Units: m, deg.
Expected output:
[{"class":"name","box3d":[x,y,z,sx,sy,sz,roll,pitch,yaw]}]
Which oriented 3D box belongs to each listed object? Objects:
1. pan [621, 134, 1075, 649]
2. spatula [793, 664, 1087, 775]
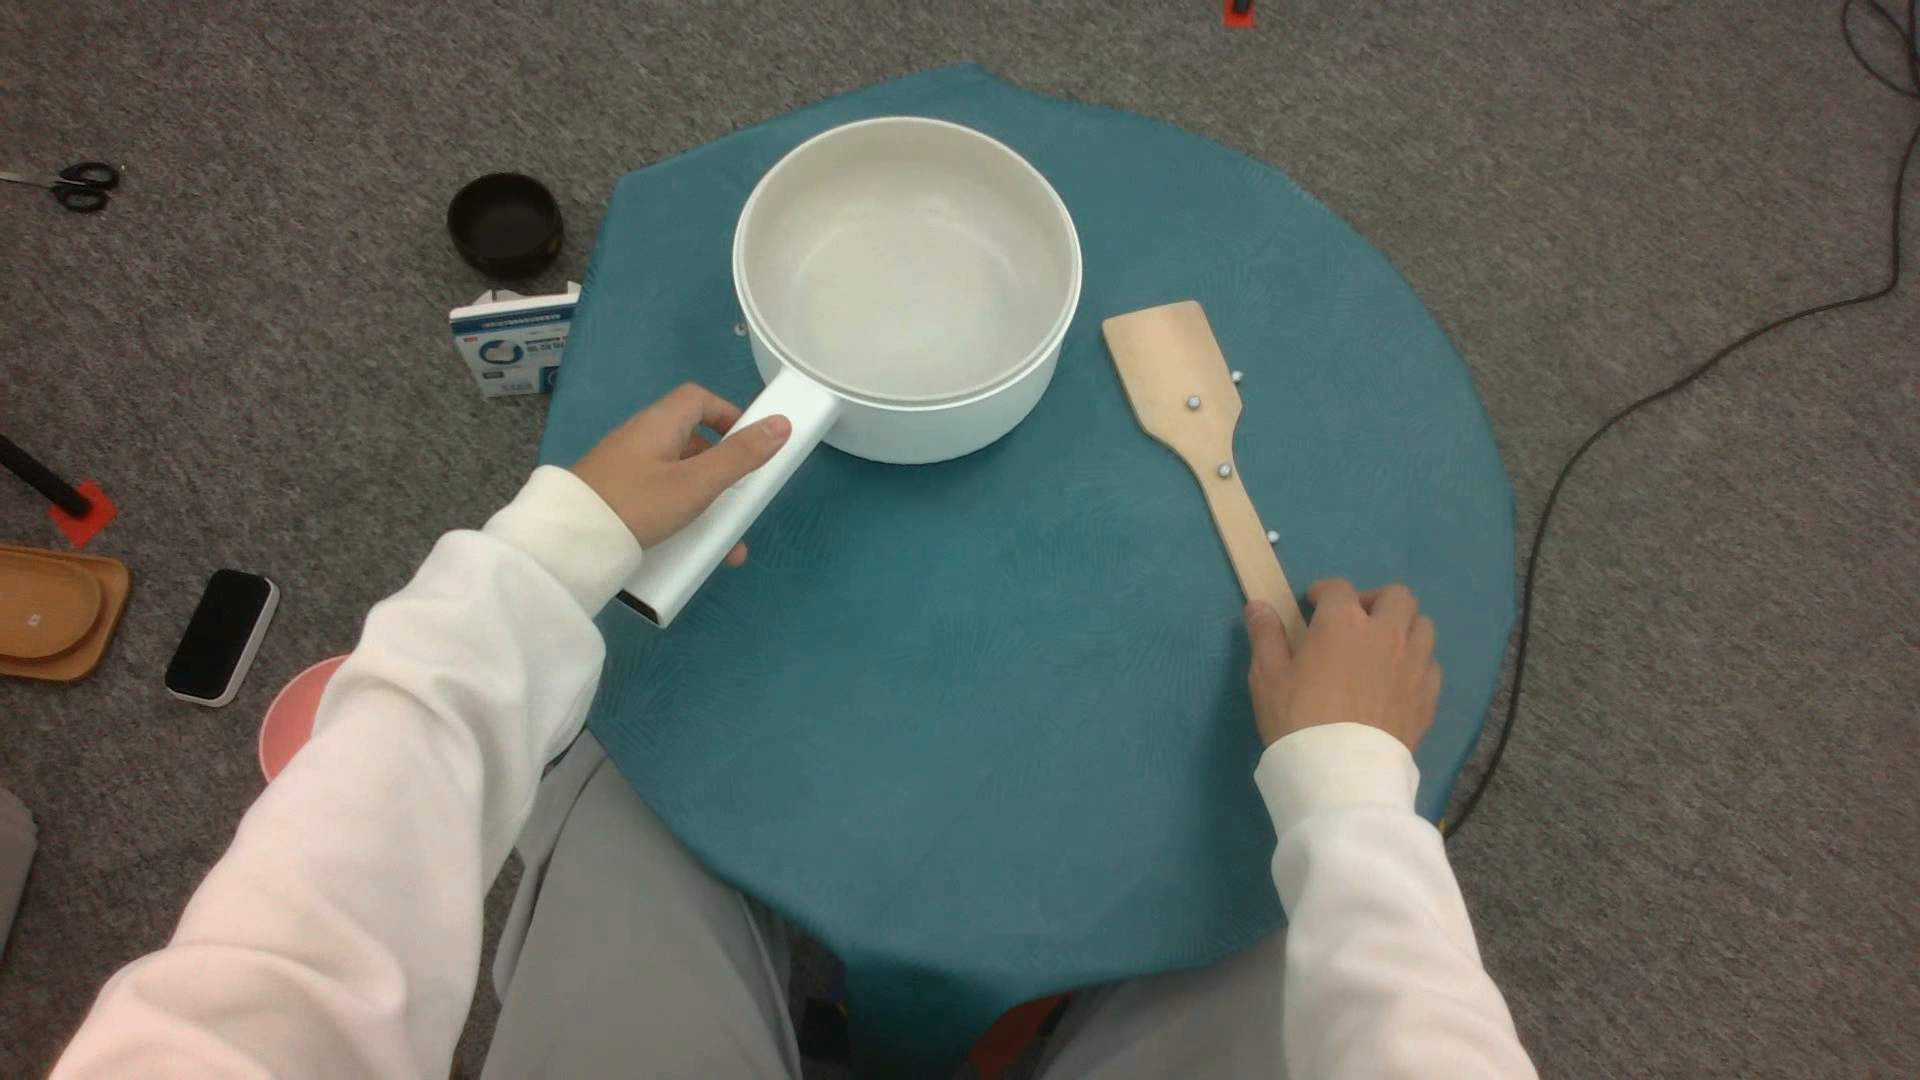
[{"class":"pan","box3d":[-0.074,-0.080,0.827,0.201,0.102,0.356,31,70,7]},{"class":"spatula","box3d":[-0.023,0.168,1.359,0.293,0.010,0.072,12,67,4]}]
